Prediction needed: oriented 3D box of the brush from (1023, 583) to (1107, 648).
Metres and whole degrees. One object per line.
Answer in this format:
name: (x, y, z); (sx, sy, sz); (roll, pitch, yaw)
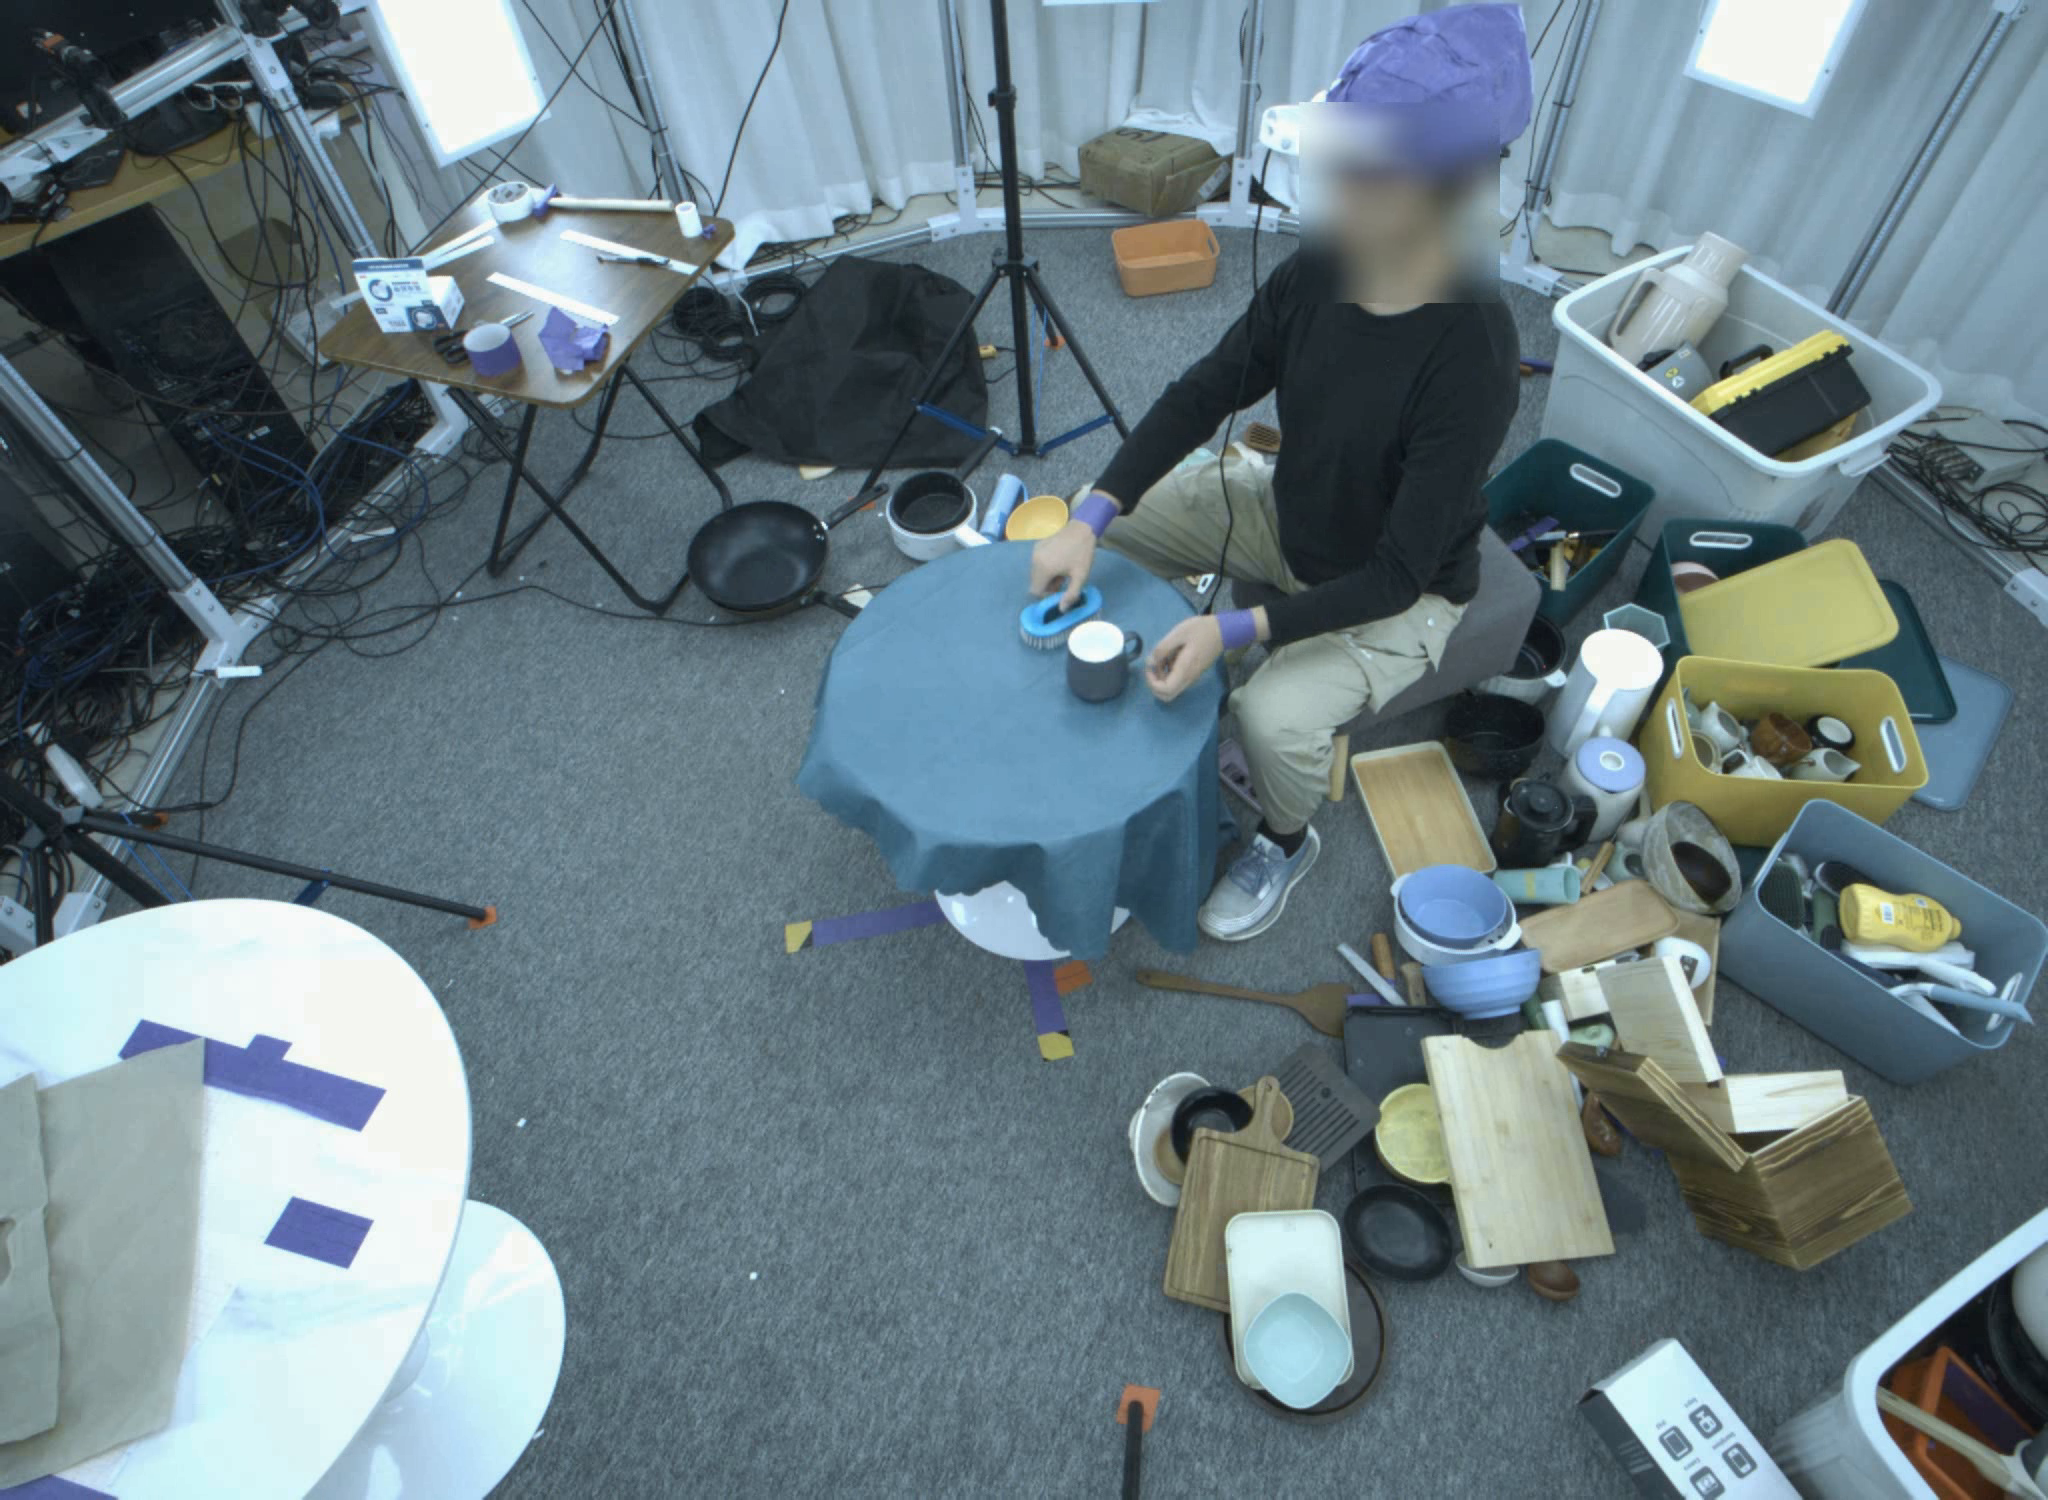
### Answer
brush: (0.060, -0.220, 1.903); (0.143, 0.064, 0.082); (-28, 53, -18)

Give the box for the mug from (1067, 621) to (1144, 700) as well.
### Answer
mug: (0.122, -0.138, 1.825); (0.124, 0.091, 0.092); (-23, 57, -11)
